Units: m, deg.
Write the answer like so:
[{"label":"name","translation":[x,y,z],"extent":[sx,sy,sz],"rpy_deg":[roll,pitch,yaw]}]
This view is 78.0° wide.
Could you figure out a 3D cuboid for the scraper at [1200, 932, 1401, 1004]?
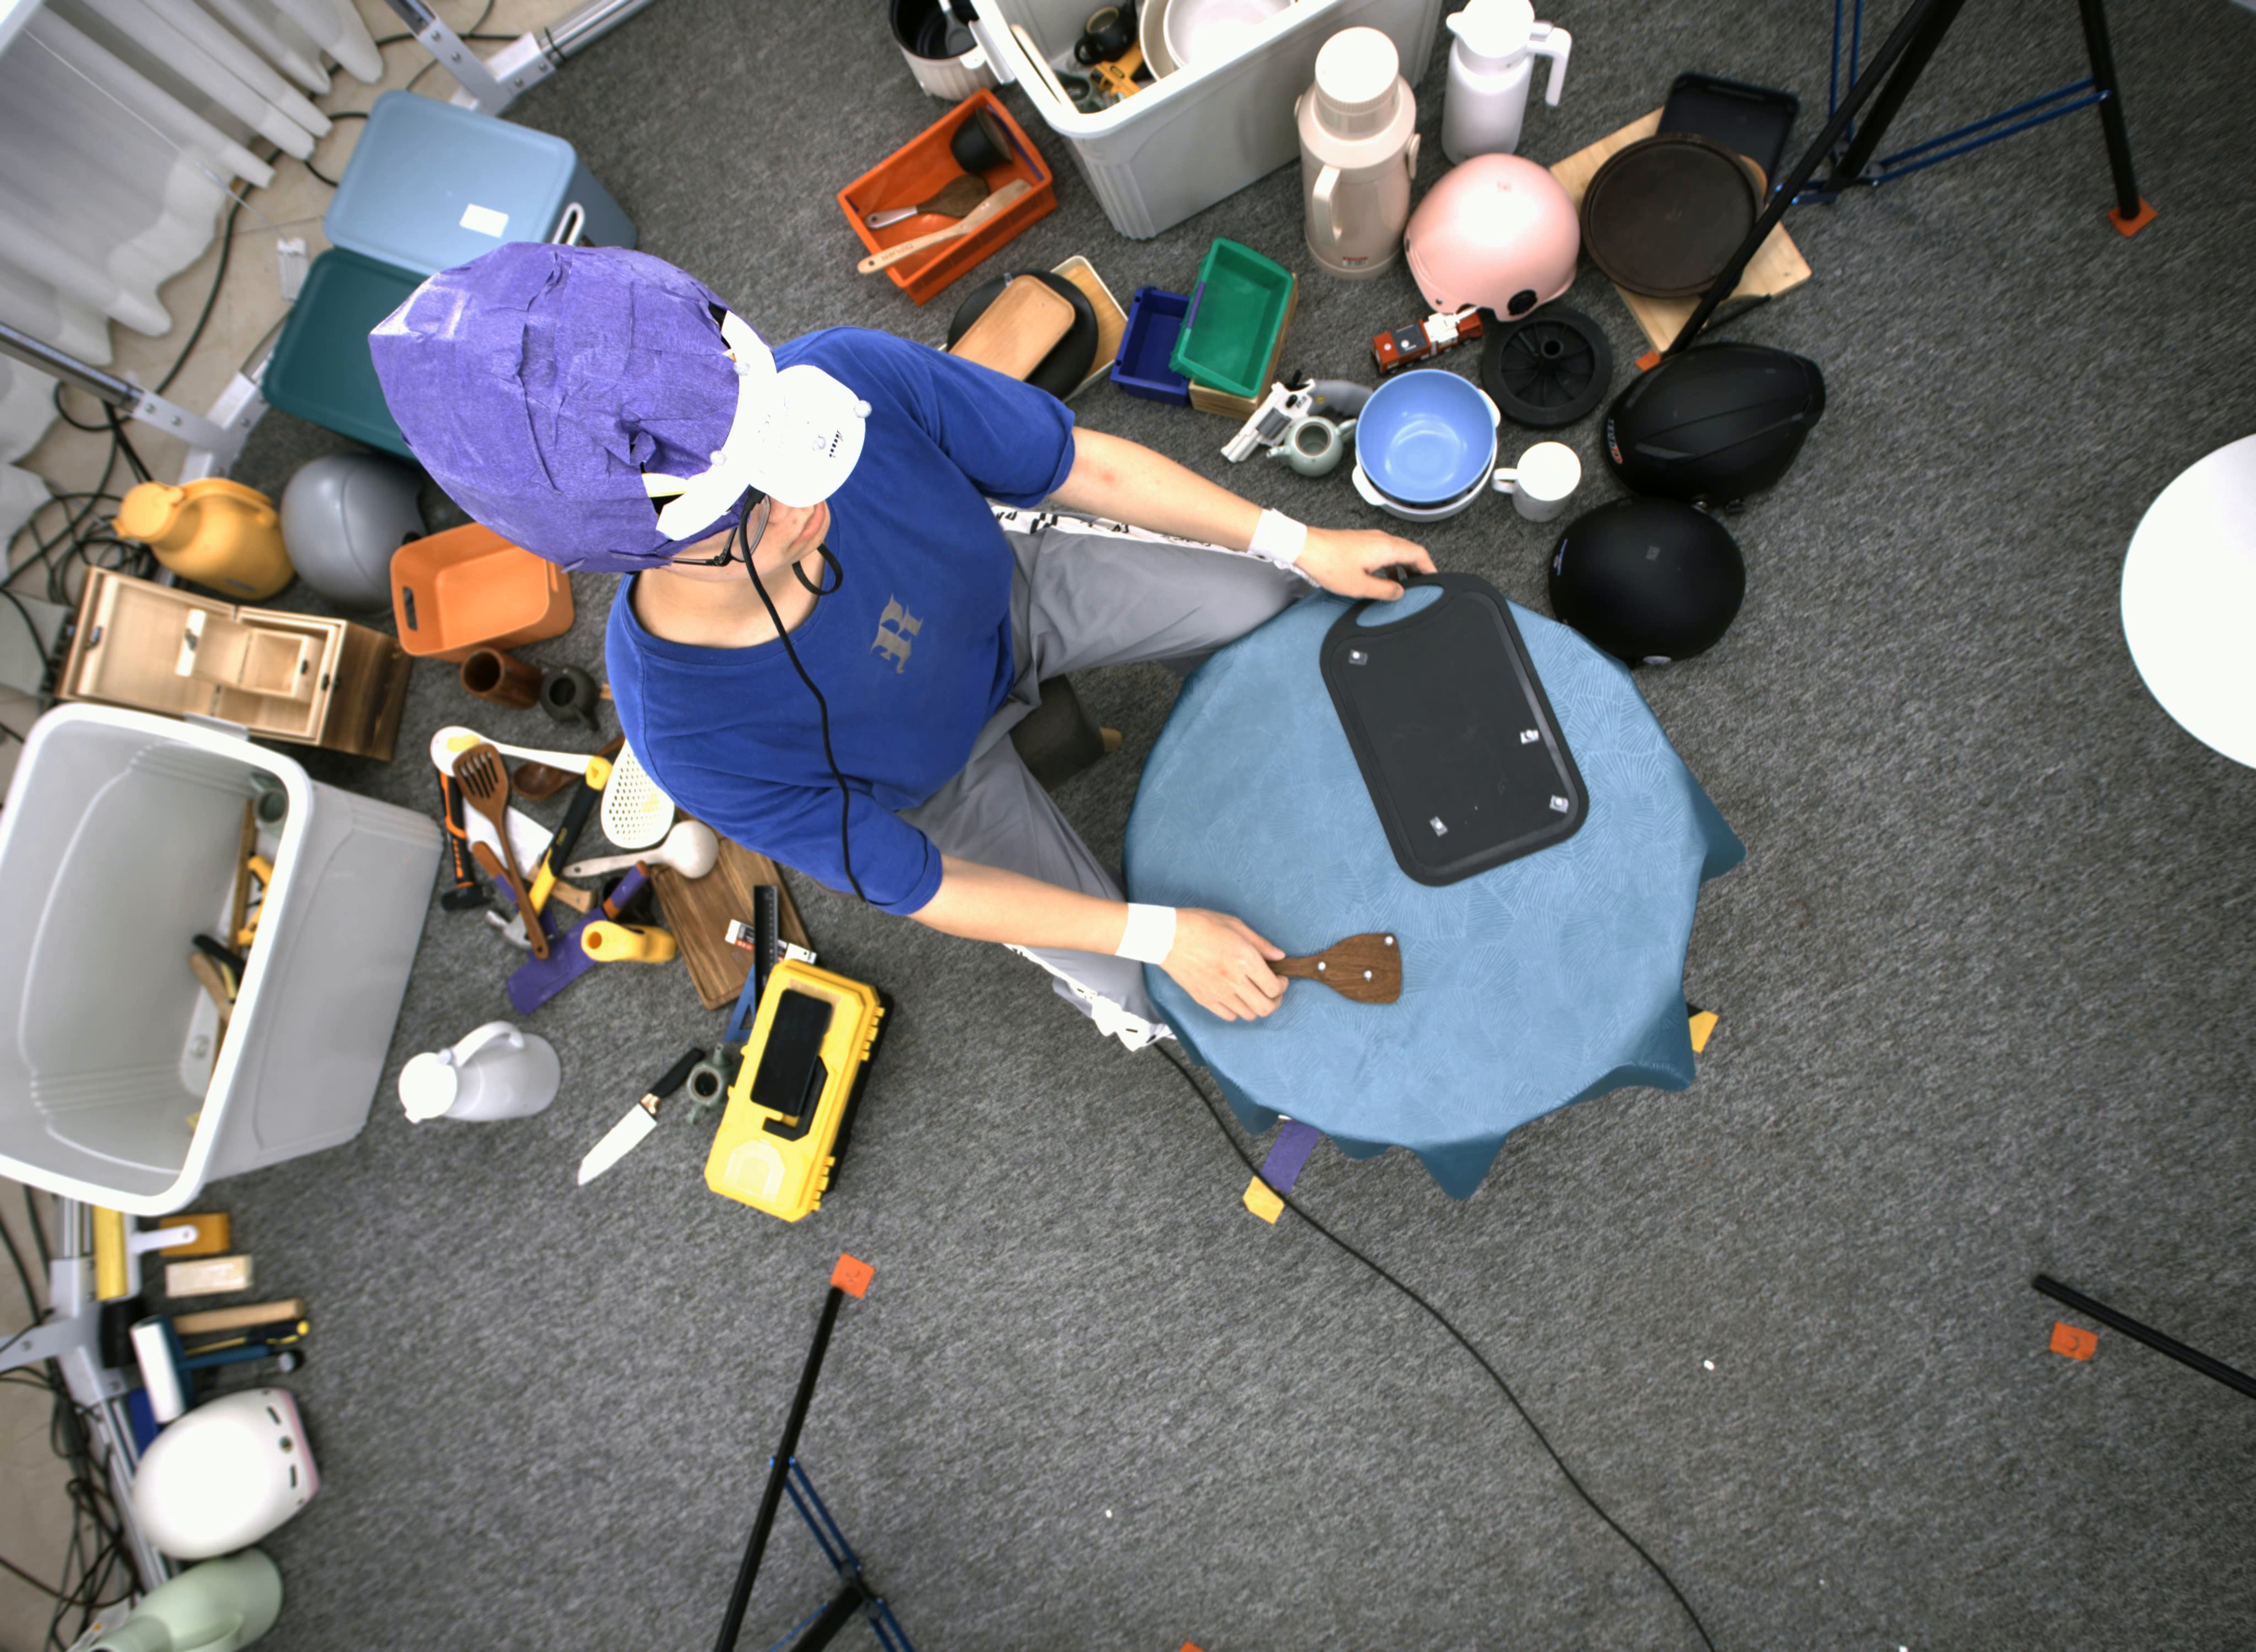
[{"label":"scraper","translation":[0.181,0.148,1.462],"extent":[0.212,0.011,0.075],"rpy_deg":[0,84,8]}]

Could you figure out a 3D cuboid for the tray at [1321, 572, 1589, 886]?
[{"label":"tray","translation":[0.339,-0.112,1.451],"extent":[0.212,0.010,0.323],"rpy_deg":[-21,83,9]}]
